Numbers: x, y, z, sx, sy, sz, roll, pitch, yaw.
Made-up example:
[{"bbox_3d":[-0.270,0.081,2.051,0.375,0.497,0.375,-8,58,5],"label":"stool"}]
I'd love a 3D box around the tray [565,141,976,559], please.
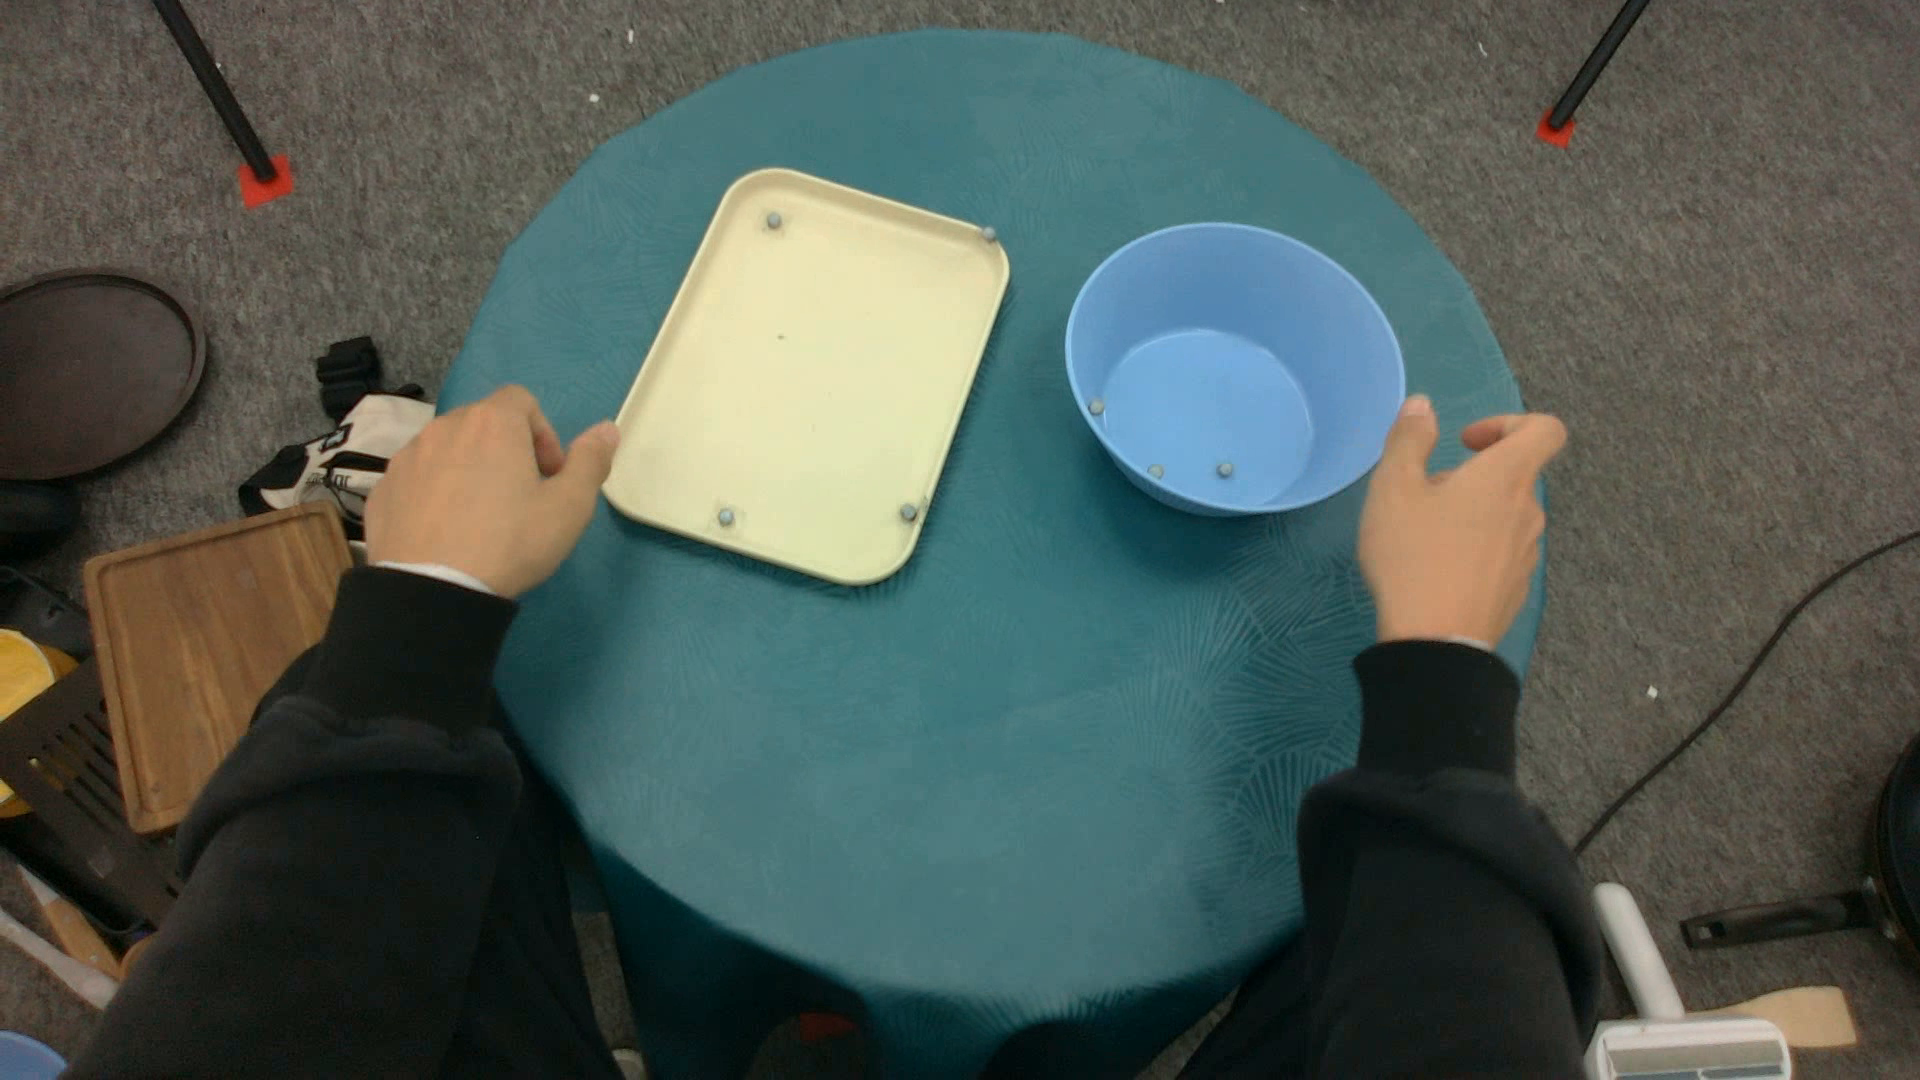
[{"bbox_3d":[-0.096,-0.108,0.746,0.171,0.017,0.240,16,64,2],"label":"tray"}]

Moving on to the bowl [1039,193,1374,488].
[{"bbox_3d":[0.125,-0.095,0.737,0.176,0.070,0.176,2,65,-5],"label":"bowl"}]
